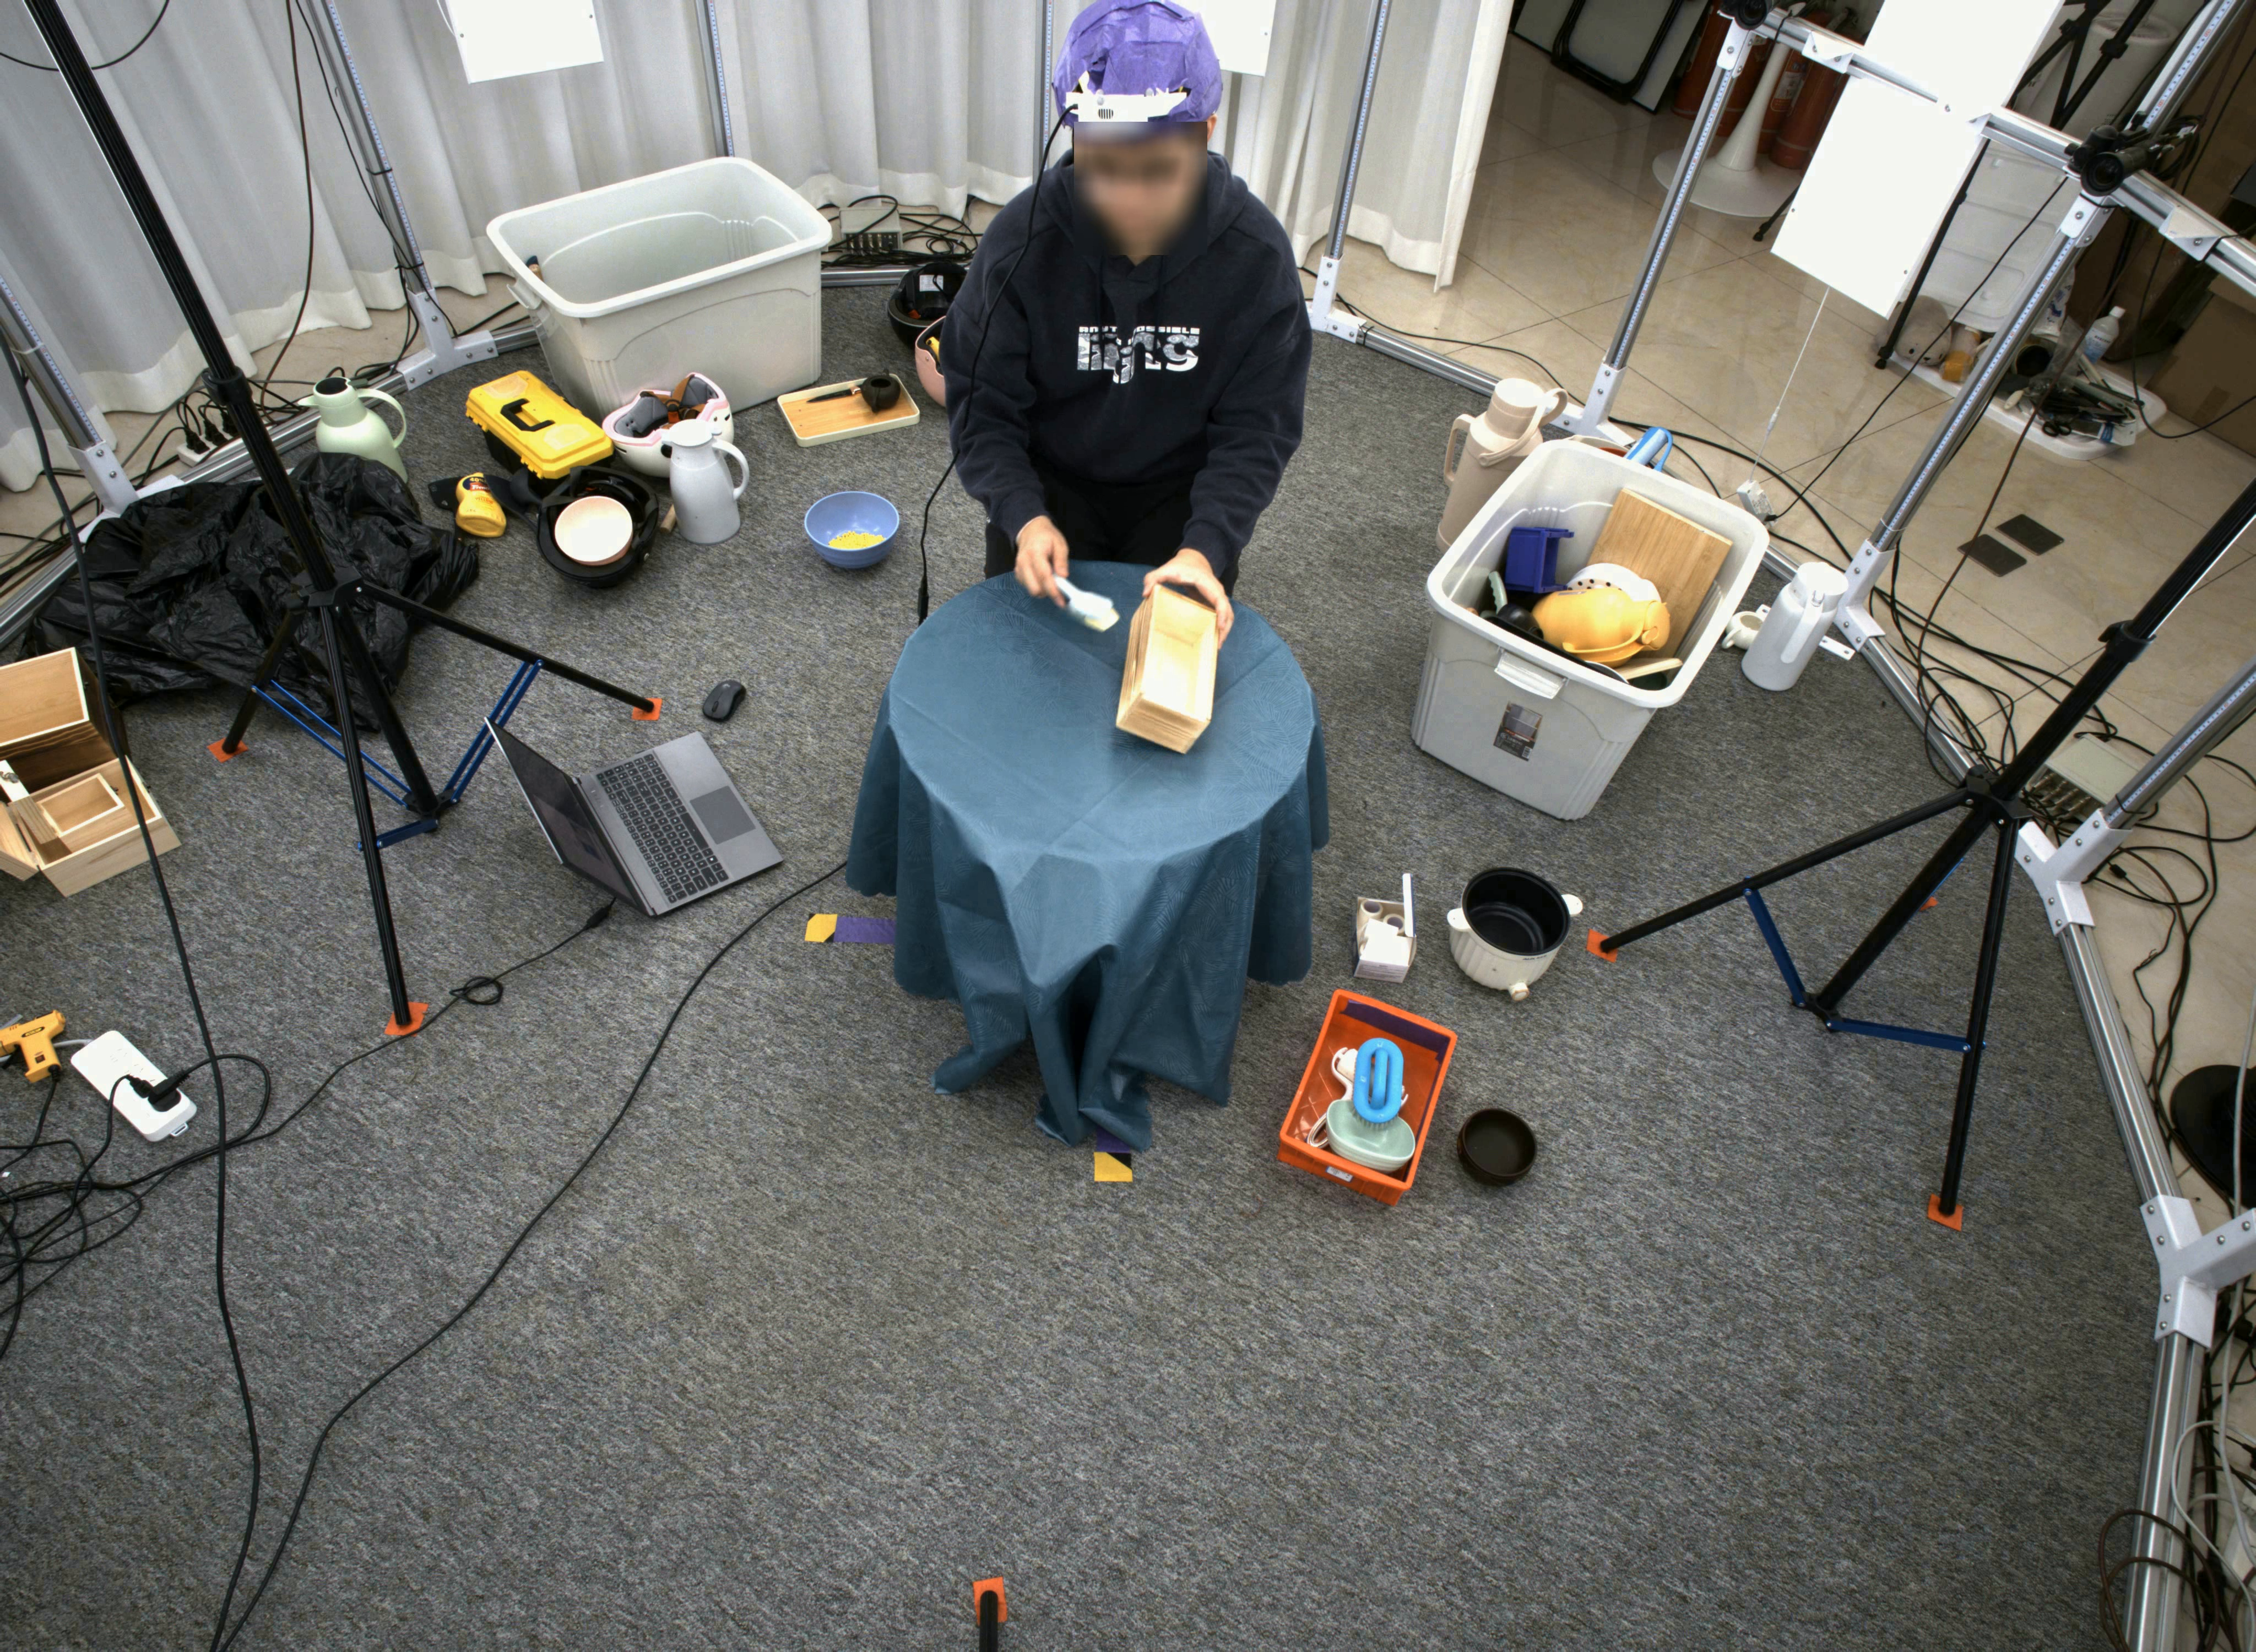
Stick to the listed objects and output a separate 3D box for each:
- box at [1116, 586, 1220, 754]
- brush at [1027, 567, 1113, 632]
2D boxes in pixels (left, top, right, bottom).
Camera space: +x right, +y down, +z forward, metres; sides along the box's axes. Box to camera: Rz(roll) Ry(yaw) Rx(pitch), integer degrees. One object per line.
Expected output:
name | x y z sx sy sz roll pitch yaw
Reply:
box | 0.058 -0.218 1.780 0.107 0.079 0.216 19 50 -15
brush | -0.087 -0.324 1.827 0.038 0.048 0.233 -42 40 -7
